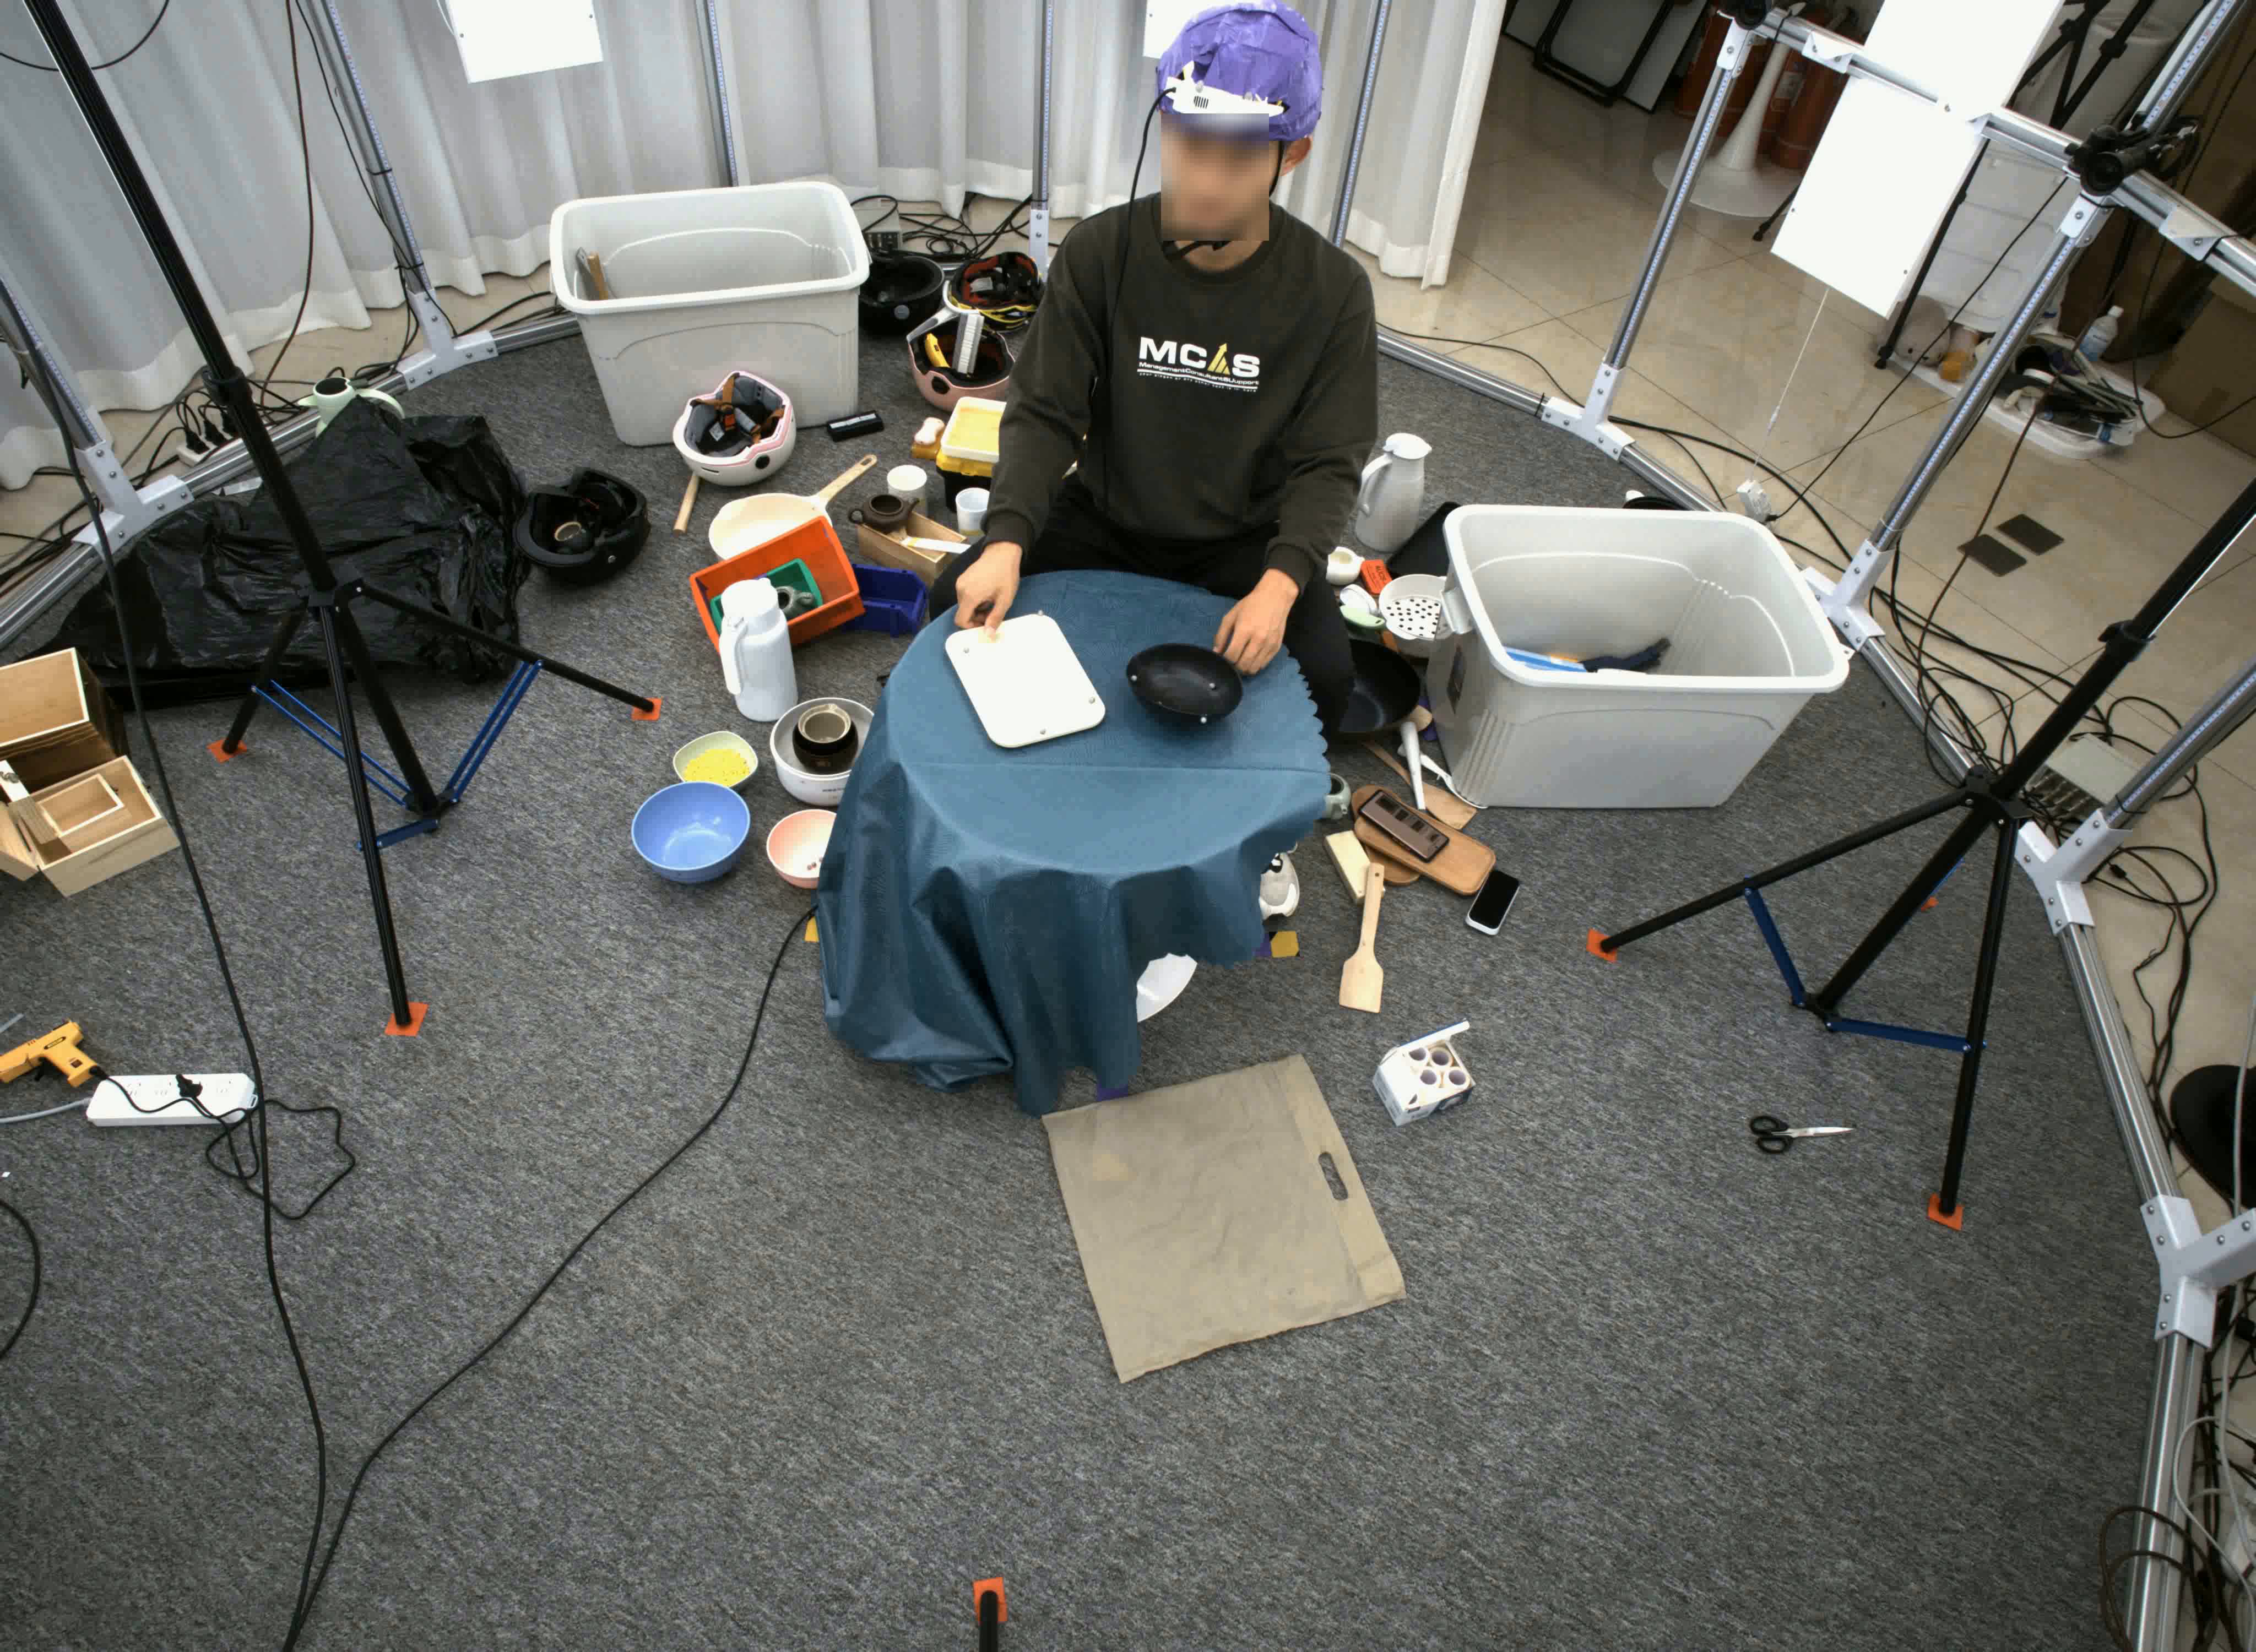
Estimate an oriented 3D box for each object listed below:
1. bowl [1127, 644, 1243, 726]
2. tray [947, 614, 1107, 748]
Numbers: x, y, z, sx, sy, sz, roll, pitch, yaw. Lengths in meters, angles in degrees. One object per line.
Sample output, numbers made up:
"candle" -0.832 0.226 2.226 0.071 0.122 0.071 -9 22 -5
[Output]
"bowl" 0.076 -0.186 1.793 0.171 0.065 0.139 23 50 18
"tray" -0.145 -0.208 1.823 0.171 0.017 0.245 -16 52 -17
